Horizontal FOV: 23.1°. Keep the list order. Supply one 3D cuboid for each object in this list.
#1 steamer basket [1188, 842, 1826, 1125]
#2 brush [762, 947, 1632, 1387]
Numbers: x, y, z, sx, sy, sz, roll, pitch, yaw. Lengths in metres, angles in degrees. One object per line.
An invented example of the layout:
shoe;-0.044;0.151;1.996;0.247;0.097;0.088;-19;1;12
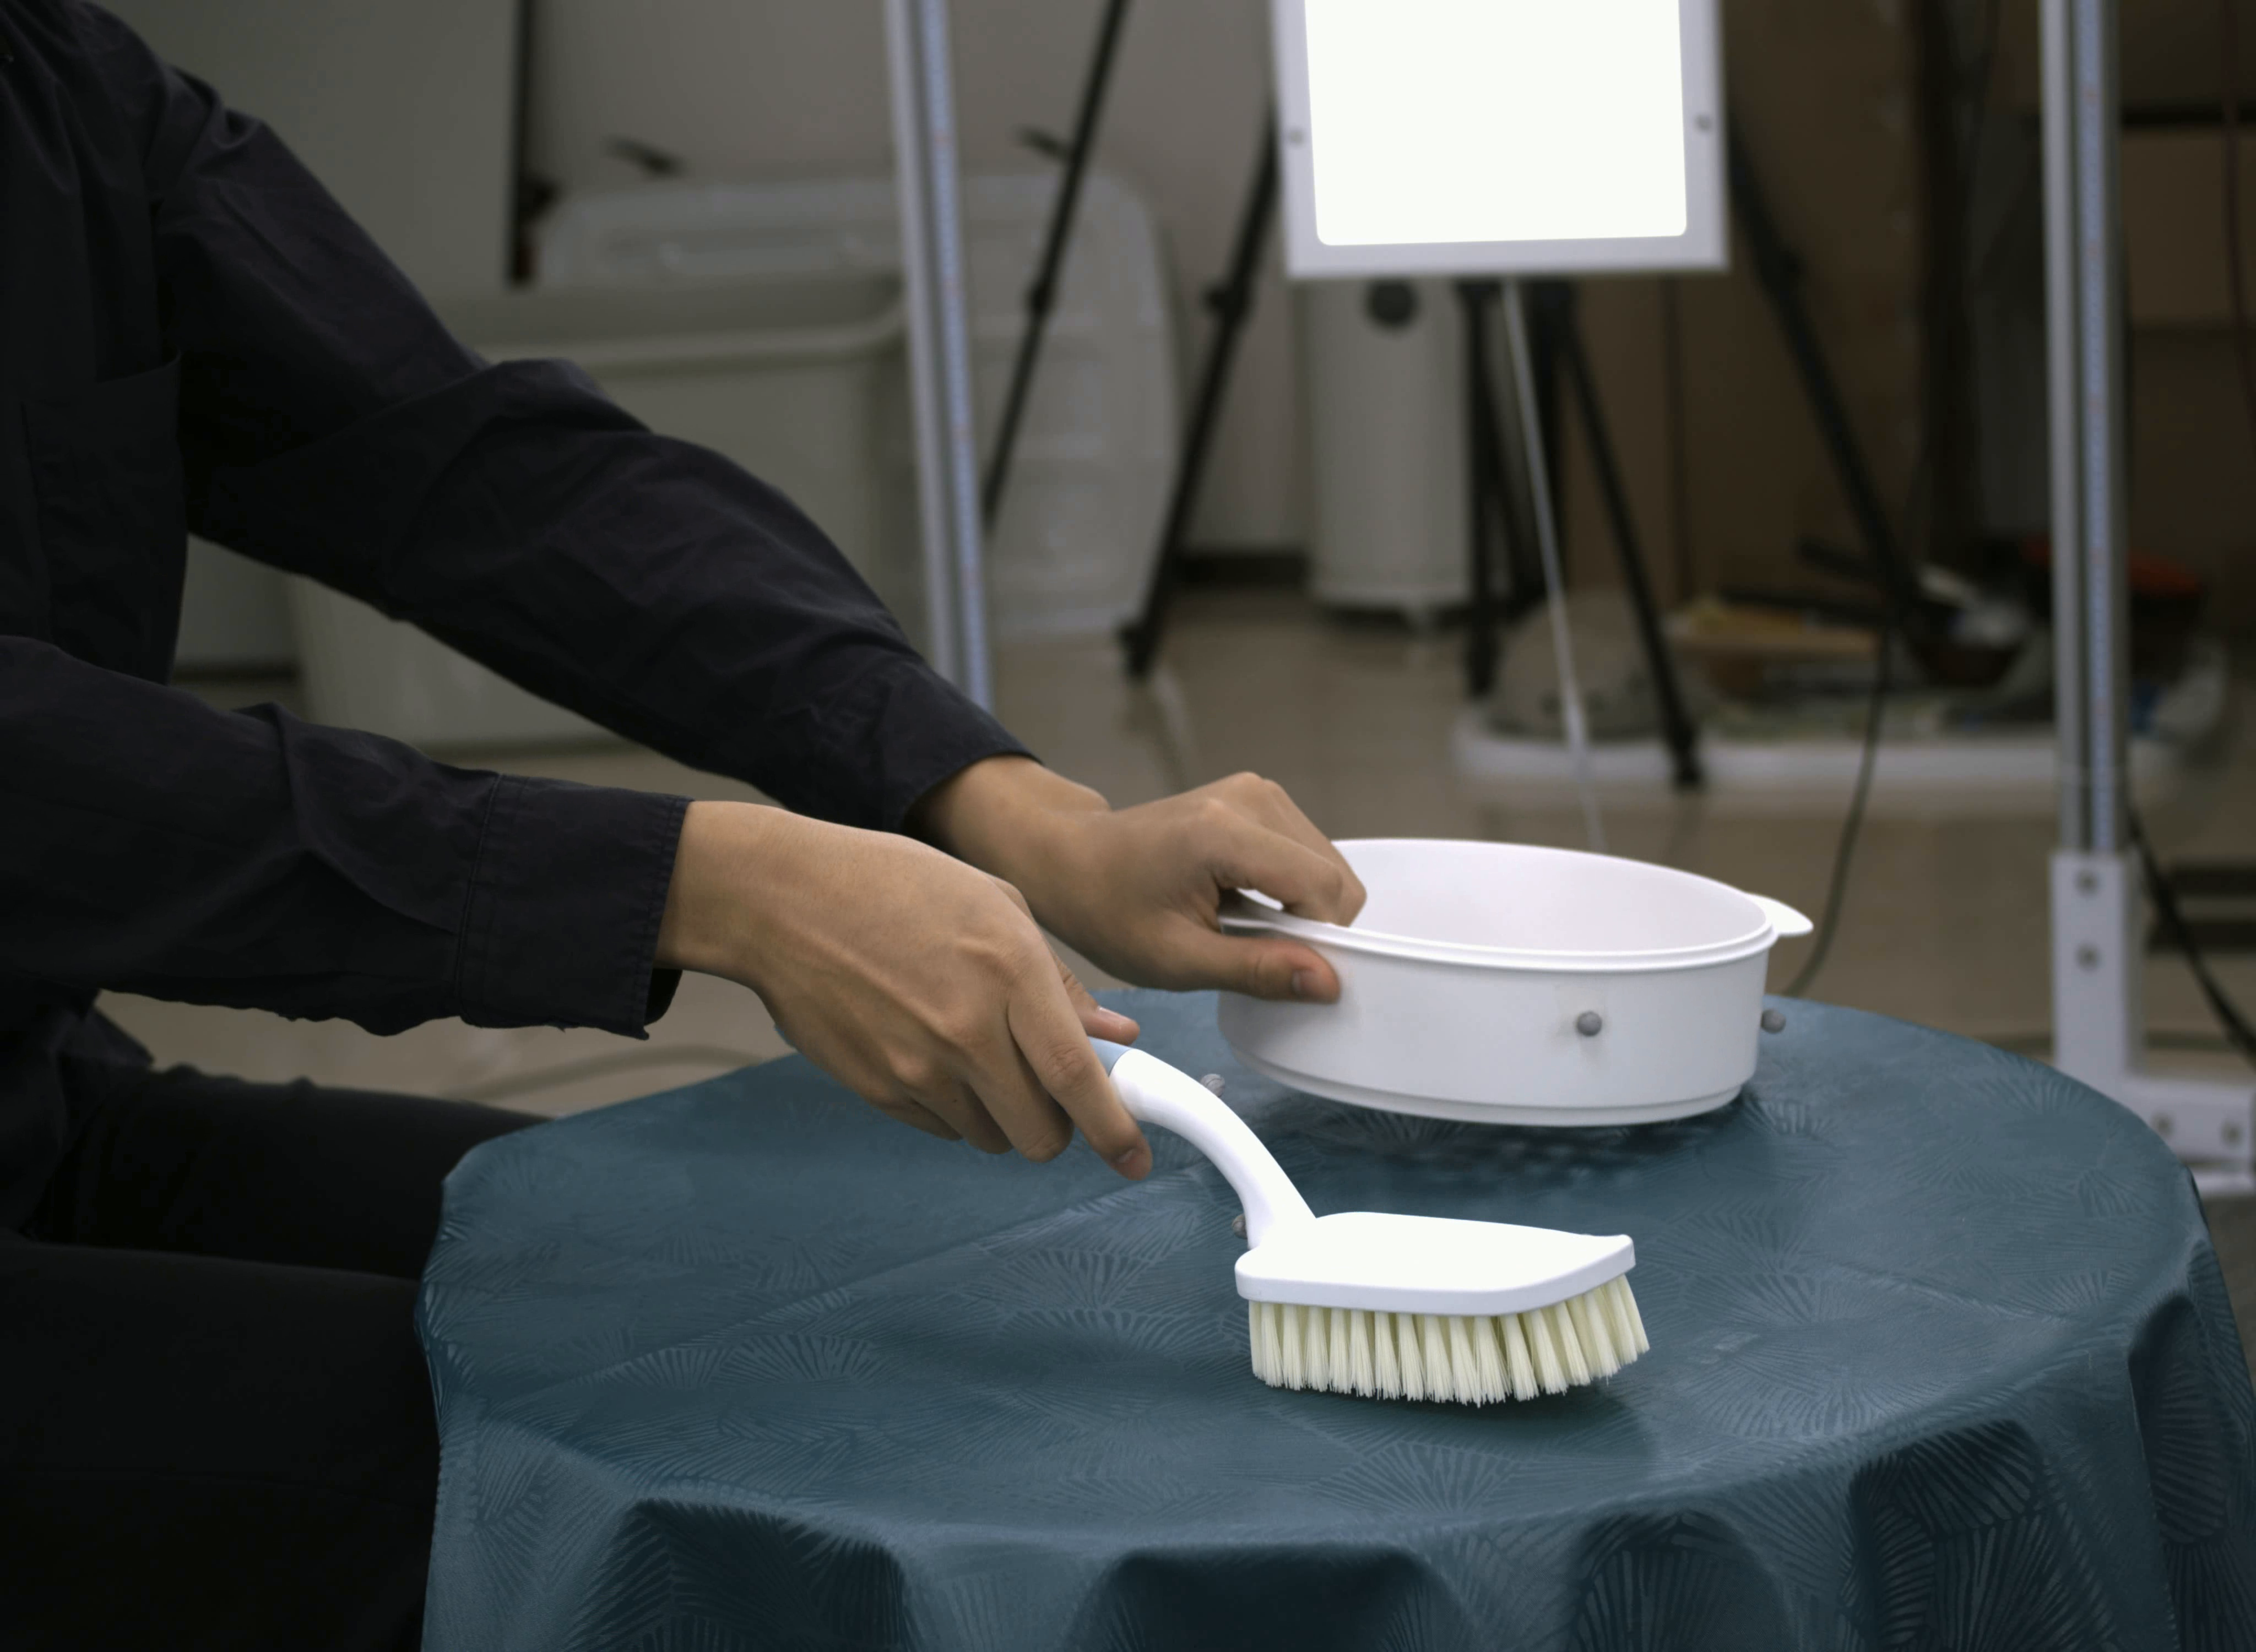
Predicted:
steamer basket;0.135;0.055;1.960;0.228;0.069;0.203;1;10;-11
brush;0.016;0.121;1.744;0.331;0.084;0.082;16;-14;33
